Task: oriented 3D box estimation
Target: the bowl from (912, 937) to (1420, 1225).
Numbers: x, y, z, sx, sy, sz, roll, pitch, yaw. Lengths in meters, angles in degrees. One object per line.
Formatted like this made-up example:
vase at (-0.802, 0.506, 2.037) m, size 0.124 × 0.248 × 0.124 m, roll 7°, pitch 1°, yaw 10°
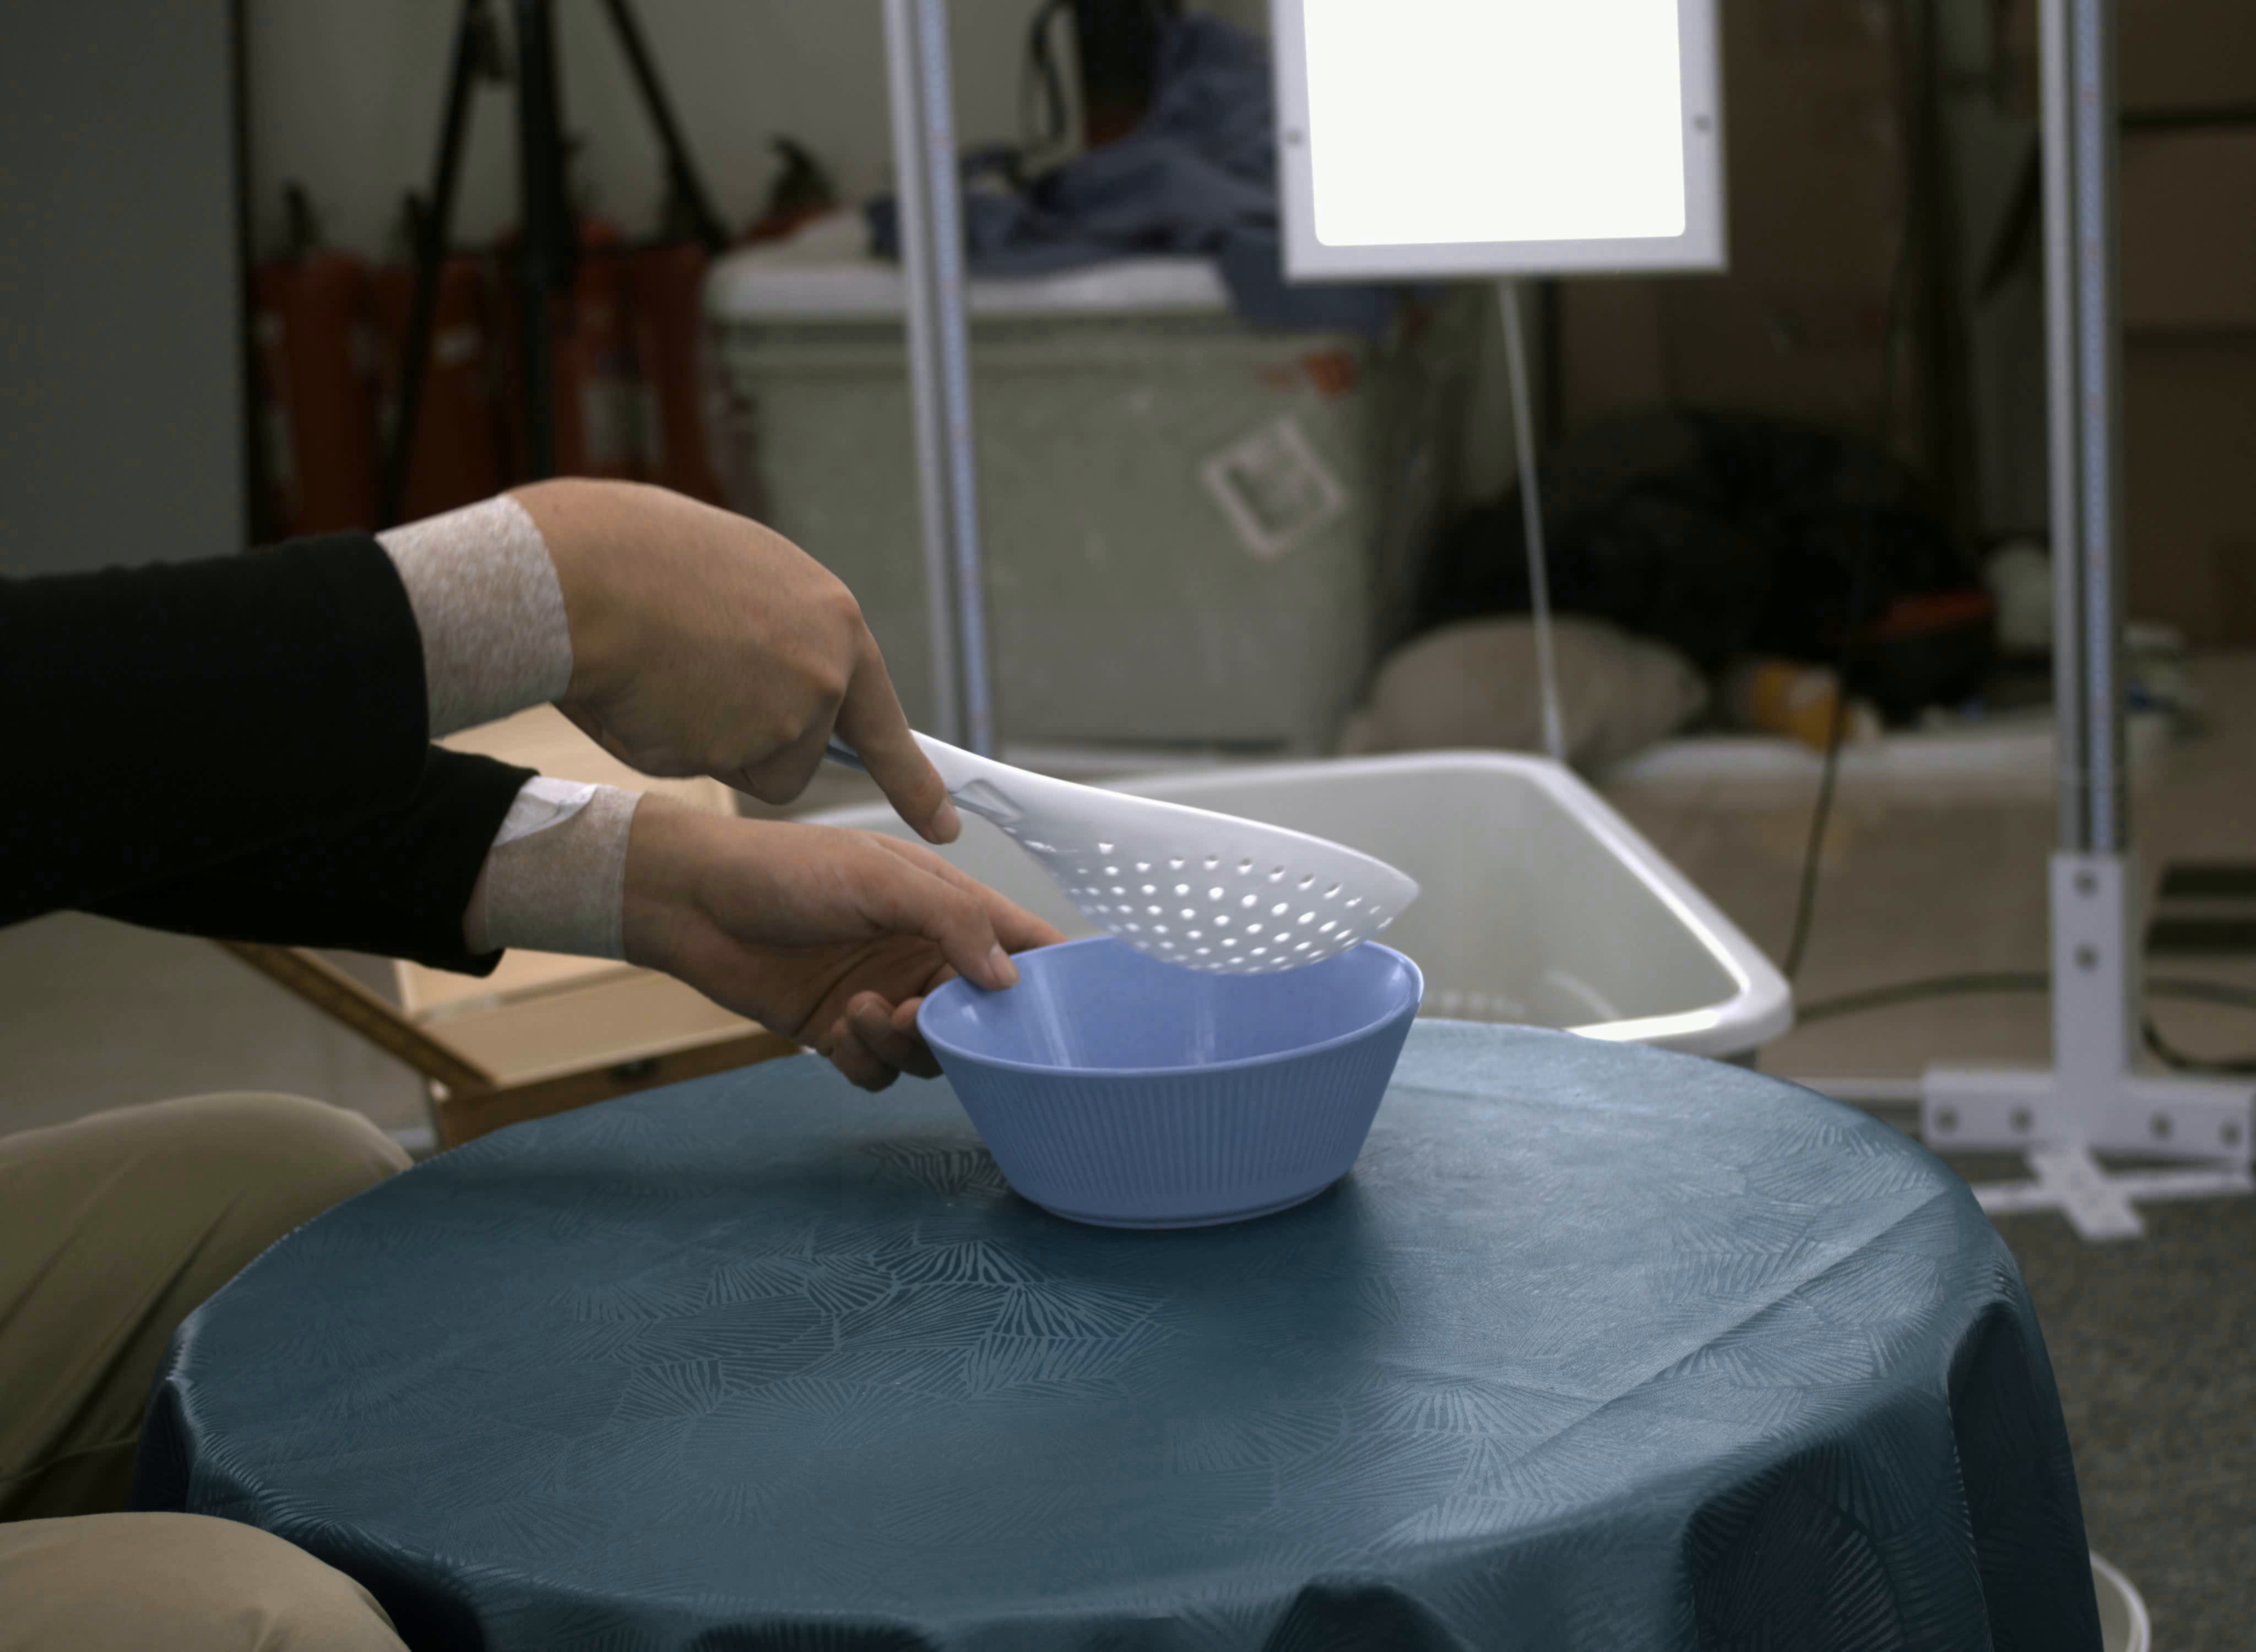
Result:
bowl at (0.016, 0.089, 1.897) m, size 0.175 × 0.070 × 0.176 m, roll -6°, pitch 13°, yaw 0°

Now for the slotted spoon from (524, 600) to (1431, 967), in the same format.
slotted spoon at (-0.047, -0.015, 1.755) m, size 0.342 × 0.045 × 0.139 m, roll 26°, pitch -15°, yaw -36°
